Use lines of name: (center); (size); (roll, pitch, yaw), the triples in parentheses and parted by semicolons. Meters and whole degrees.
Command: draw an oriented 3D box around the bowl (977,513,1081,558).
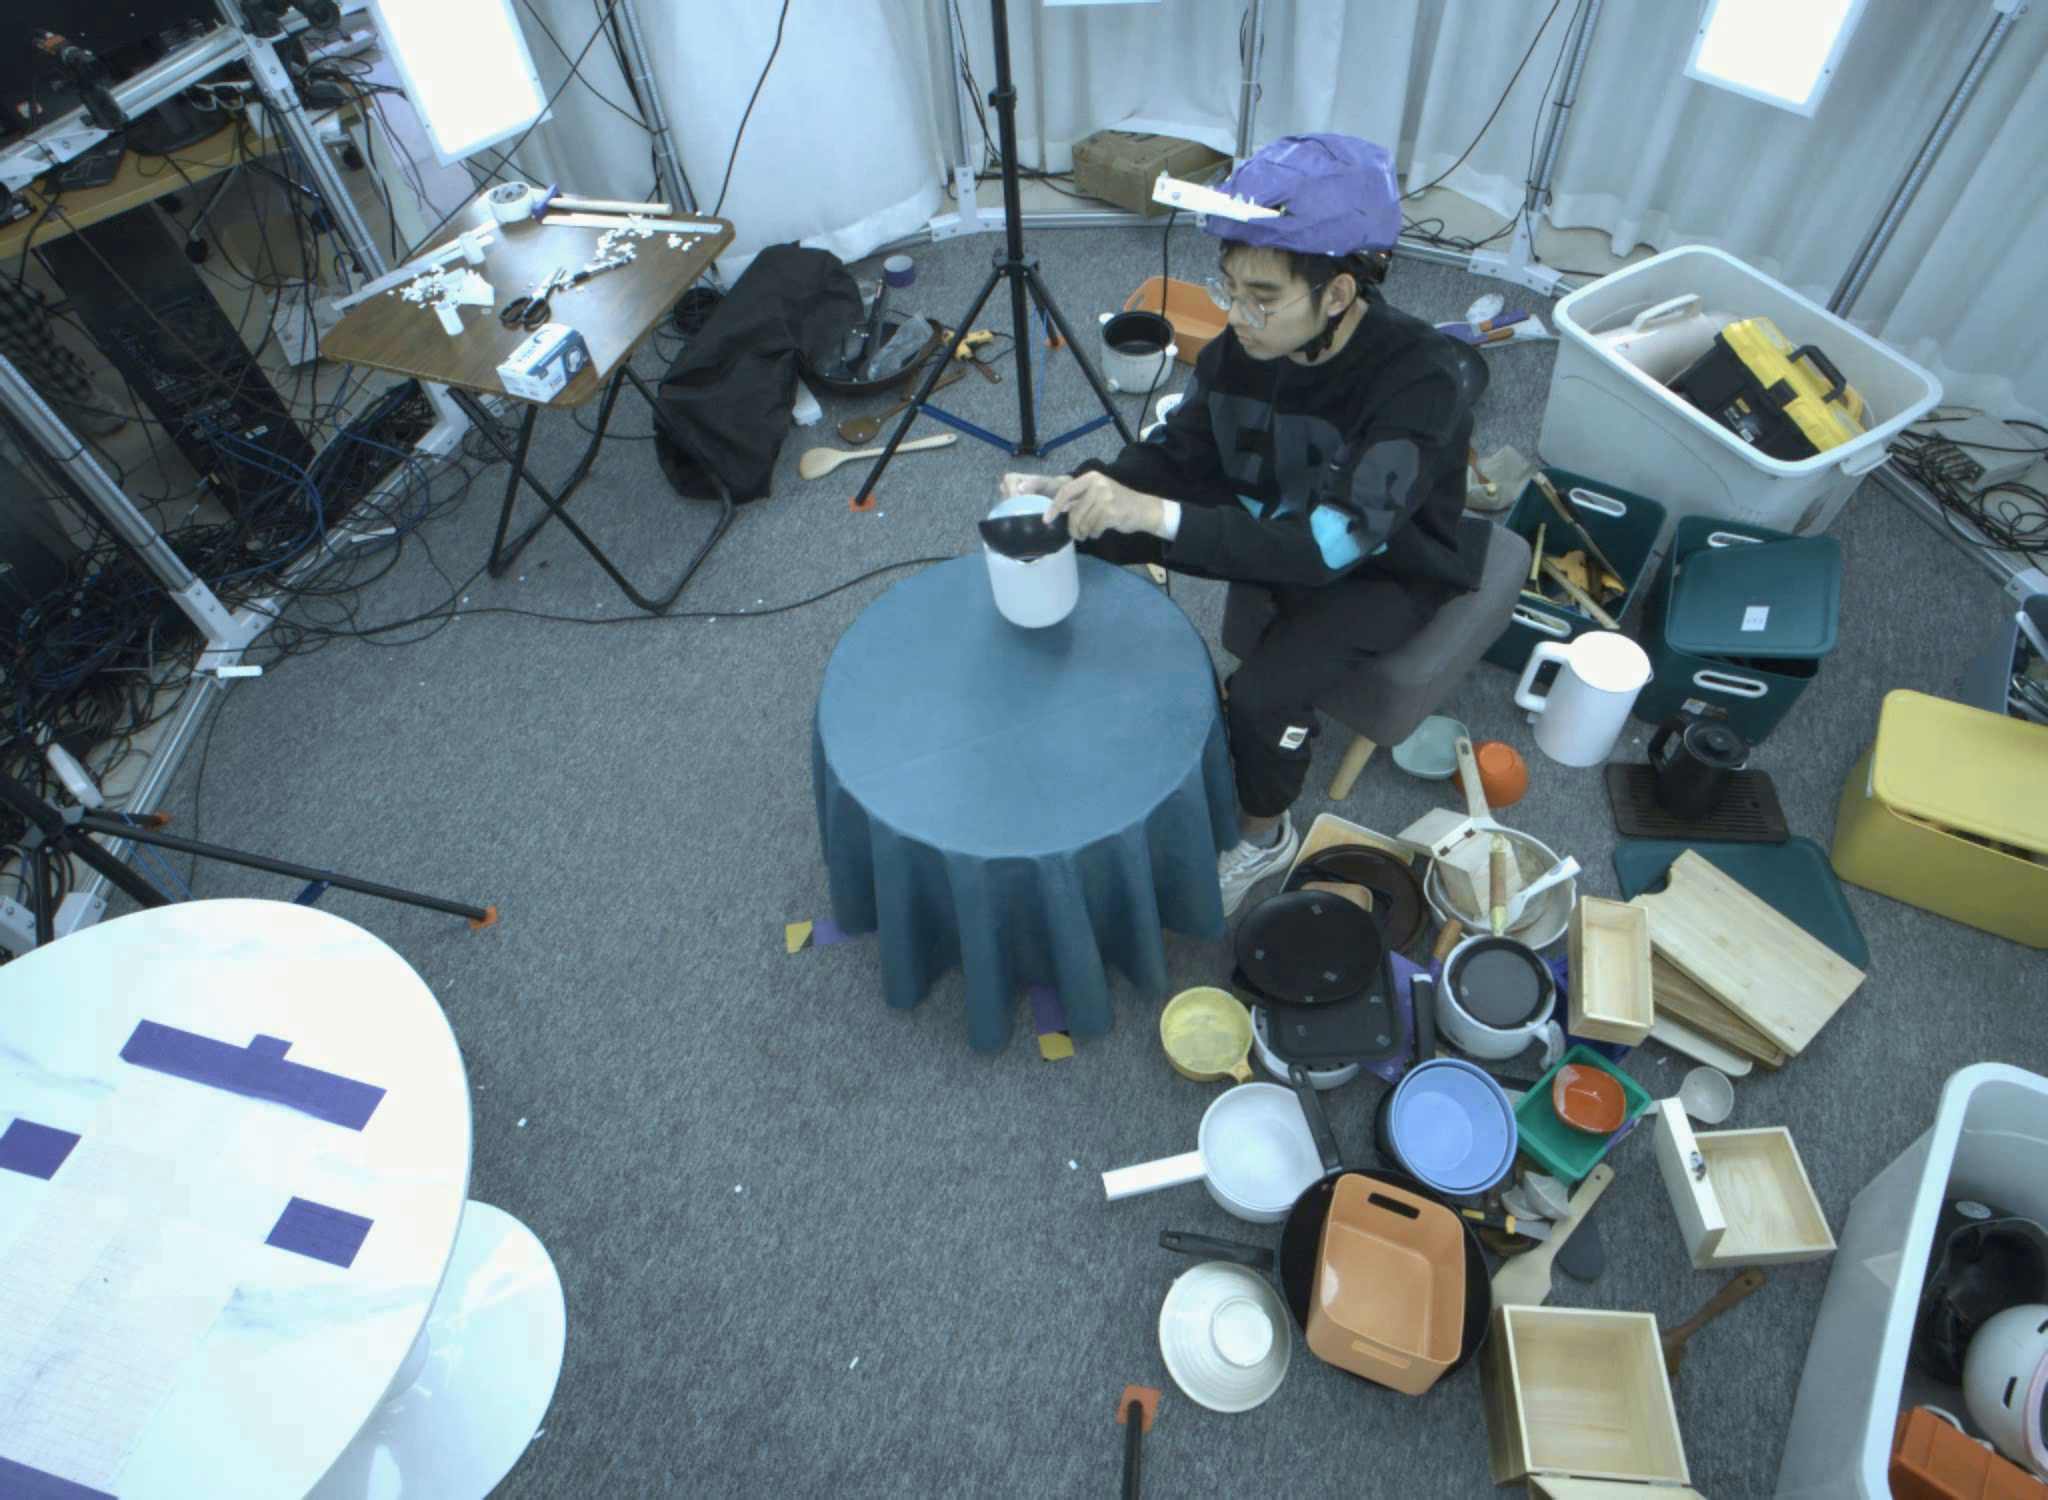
bowl: (0.007, -0.282, 1.626); (0.140, 0.139, 0.050); (-4, 96, 0)

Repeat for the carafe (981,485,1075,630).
carafe: (0.004, -0.298, 1.830); (0.132, 0.184, 0.188); (-8, 57, -1)
